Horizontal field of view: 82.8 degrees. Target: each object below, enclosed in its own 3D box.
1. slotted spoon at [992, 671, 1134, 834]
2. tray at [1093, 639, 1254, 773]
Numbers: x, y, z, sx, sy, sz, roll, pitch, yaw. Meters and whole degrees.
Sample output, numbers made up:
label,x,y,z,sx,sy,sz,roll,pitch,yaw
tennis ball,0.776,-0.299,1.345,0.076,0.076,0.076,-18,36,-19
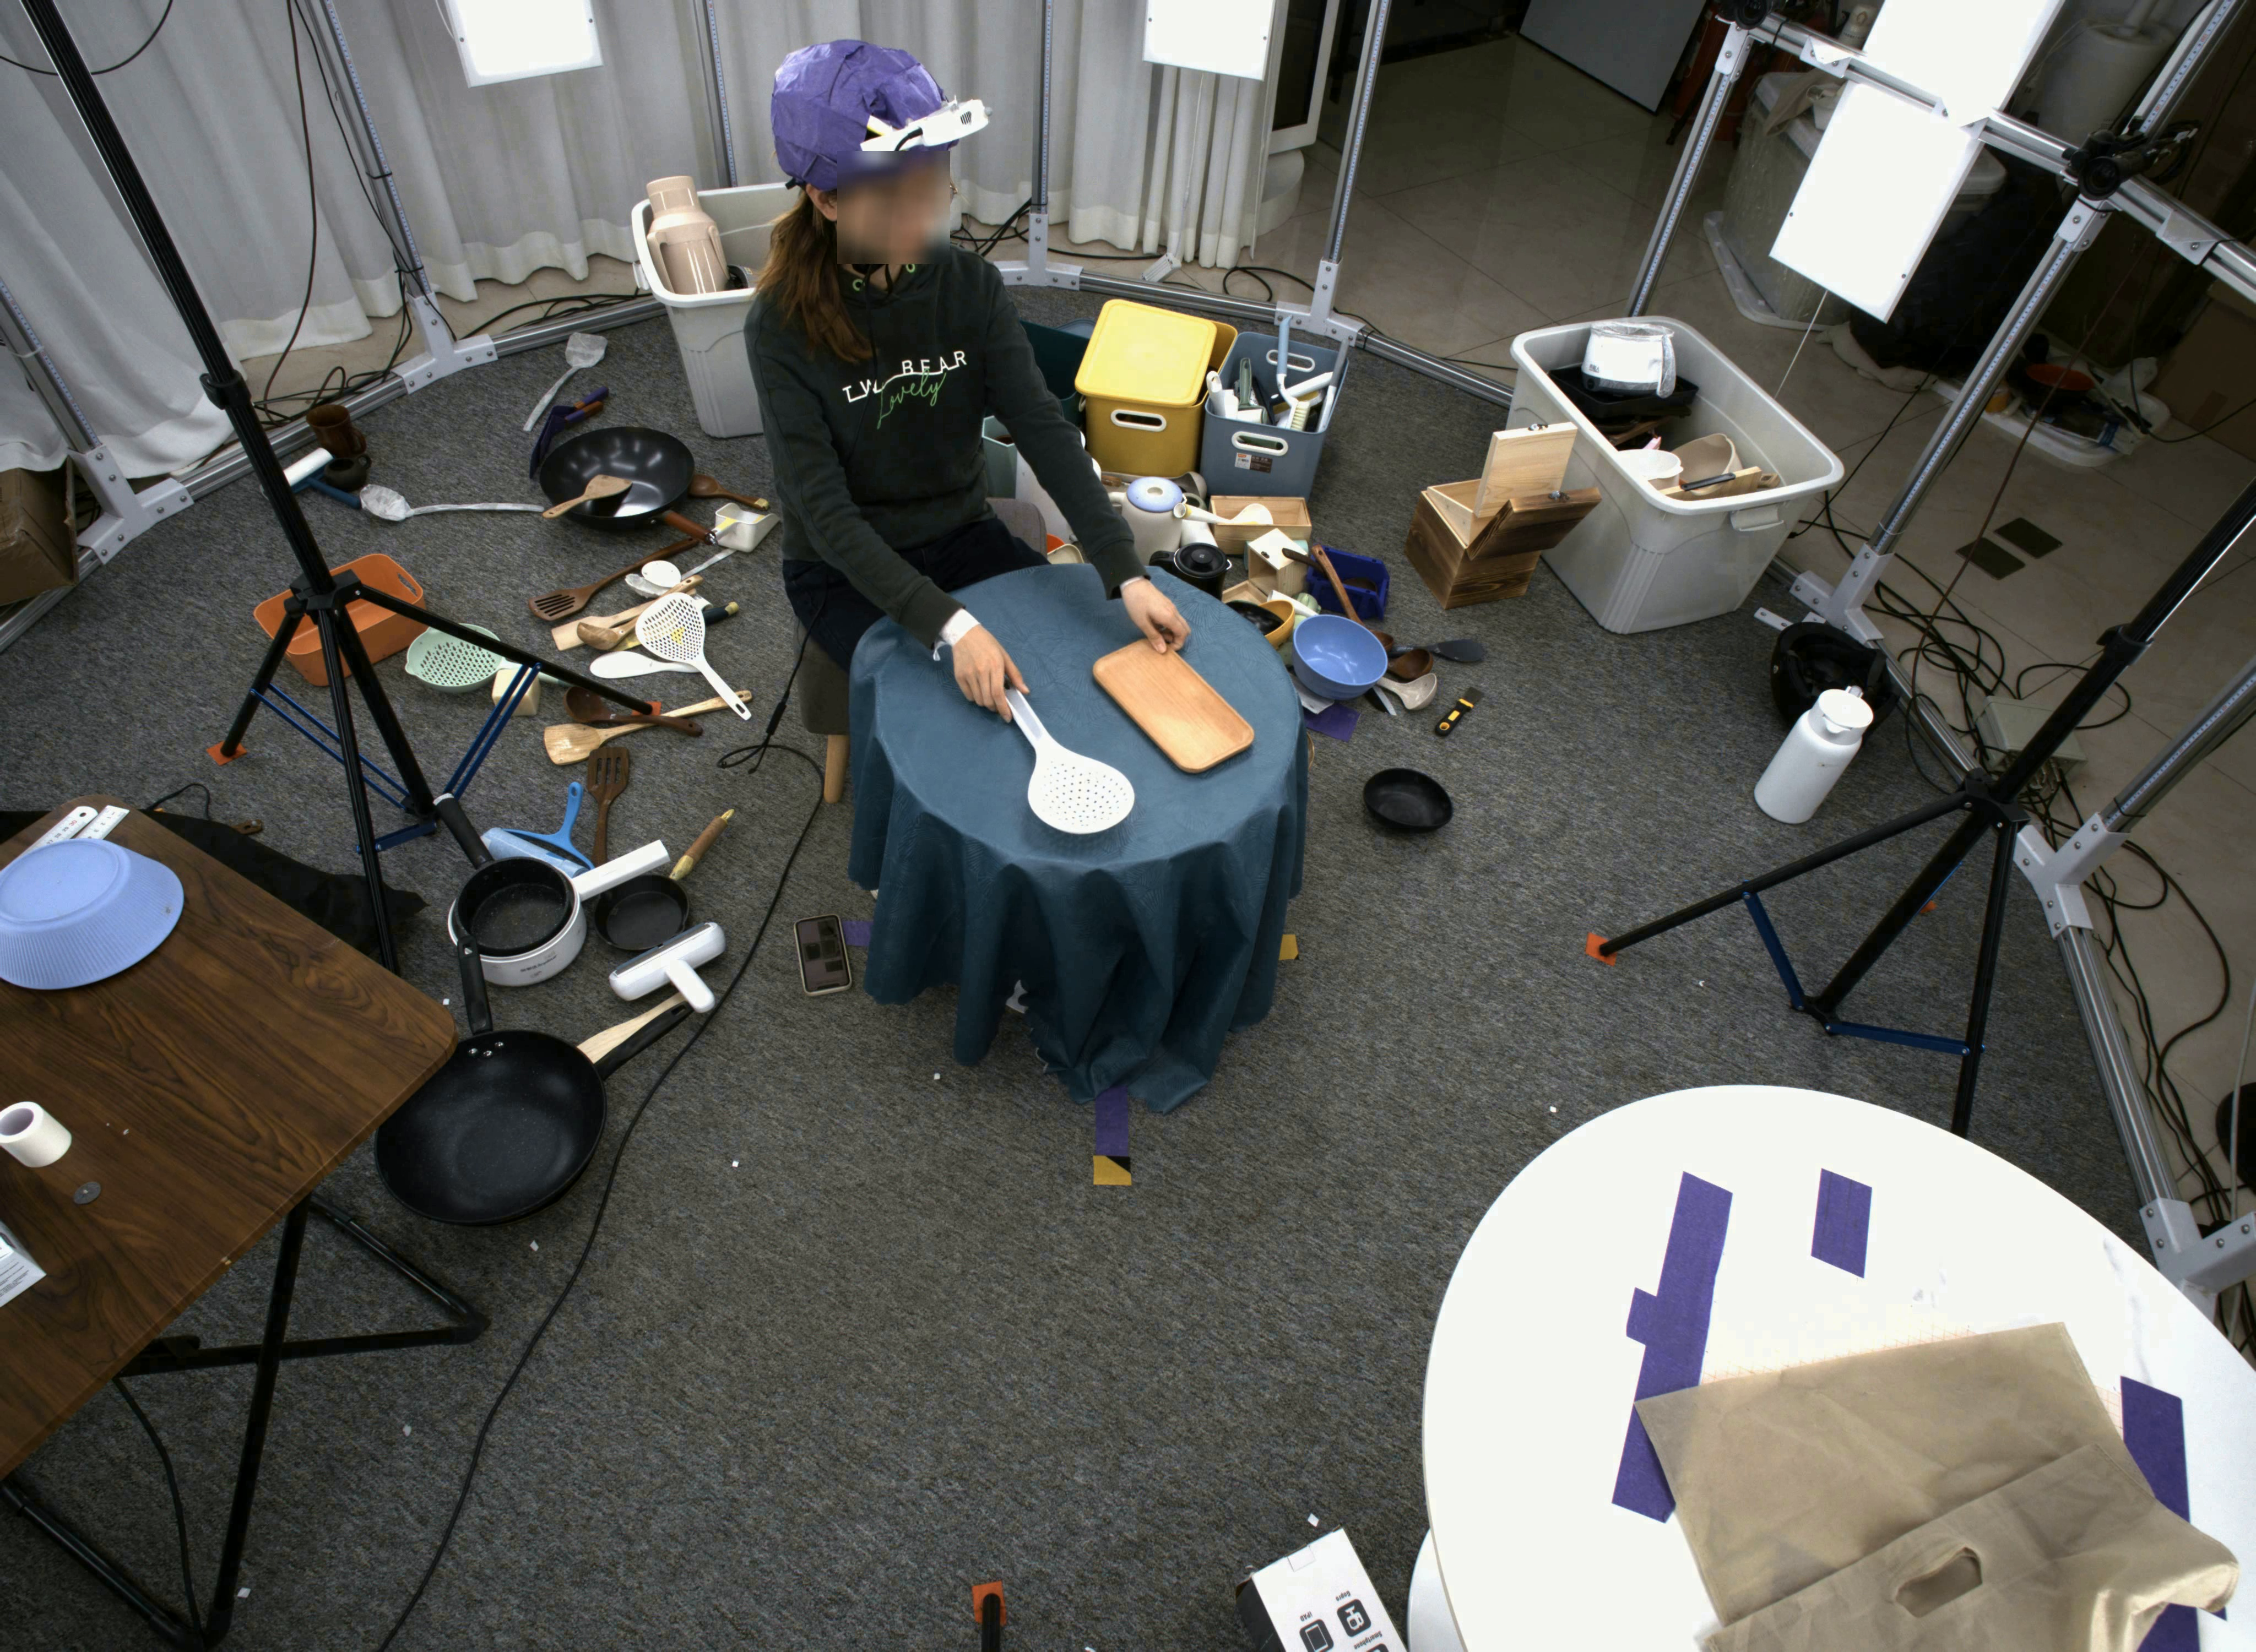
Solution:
label,x,y,z,sx,sy,sz,roll,pitch,yaw
slotted spoon,-0.109,-0.104,1.738,0.136,0.044,0.358,-16,51,-21
tray,0.062,-0.173,1.827,0.131,0.022,0.255,-25,54,-24
